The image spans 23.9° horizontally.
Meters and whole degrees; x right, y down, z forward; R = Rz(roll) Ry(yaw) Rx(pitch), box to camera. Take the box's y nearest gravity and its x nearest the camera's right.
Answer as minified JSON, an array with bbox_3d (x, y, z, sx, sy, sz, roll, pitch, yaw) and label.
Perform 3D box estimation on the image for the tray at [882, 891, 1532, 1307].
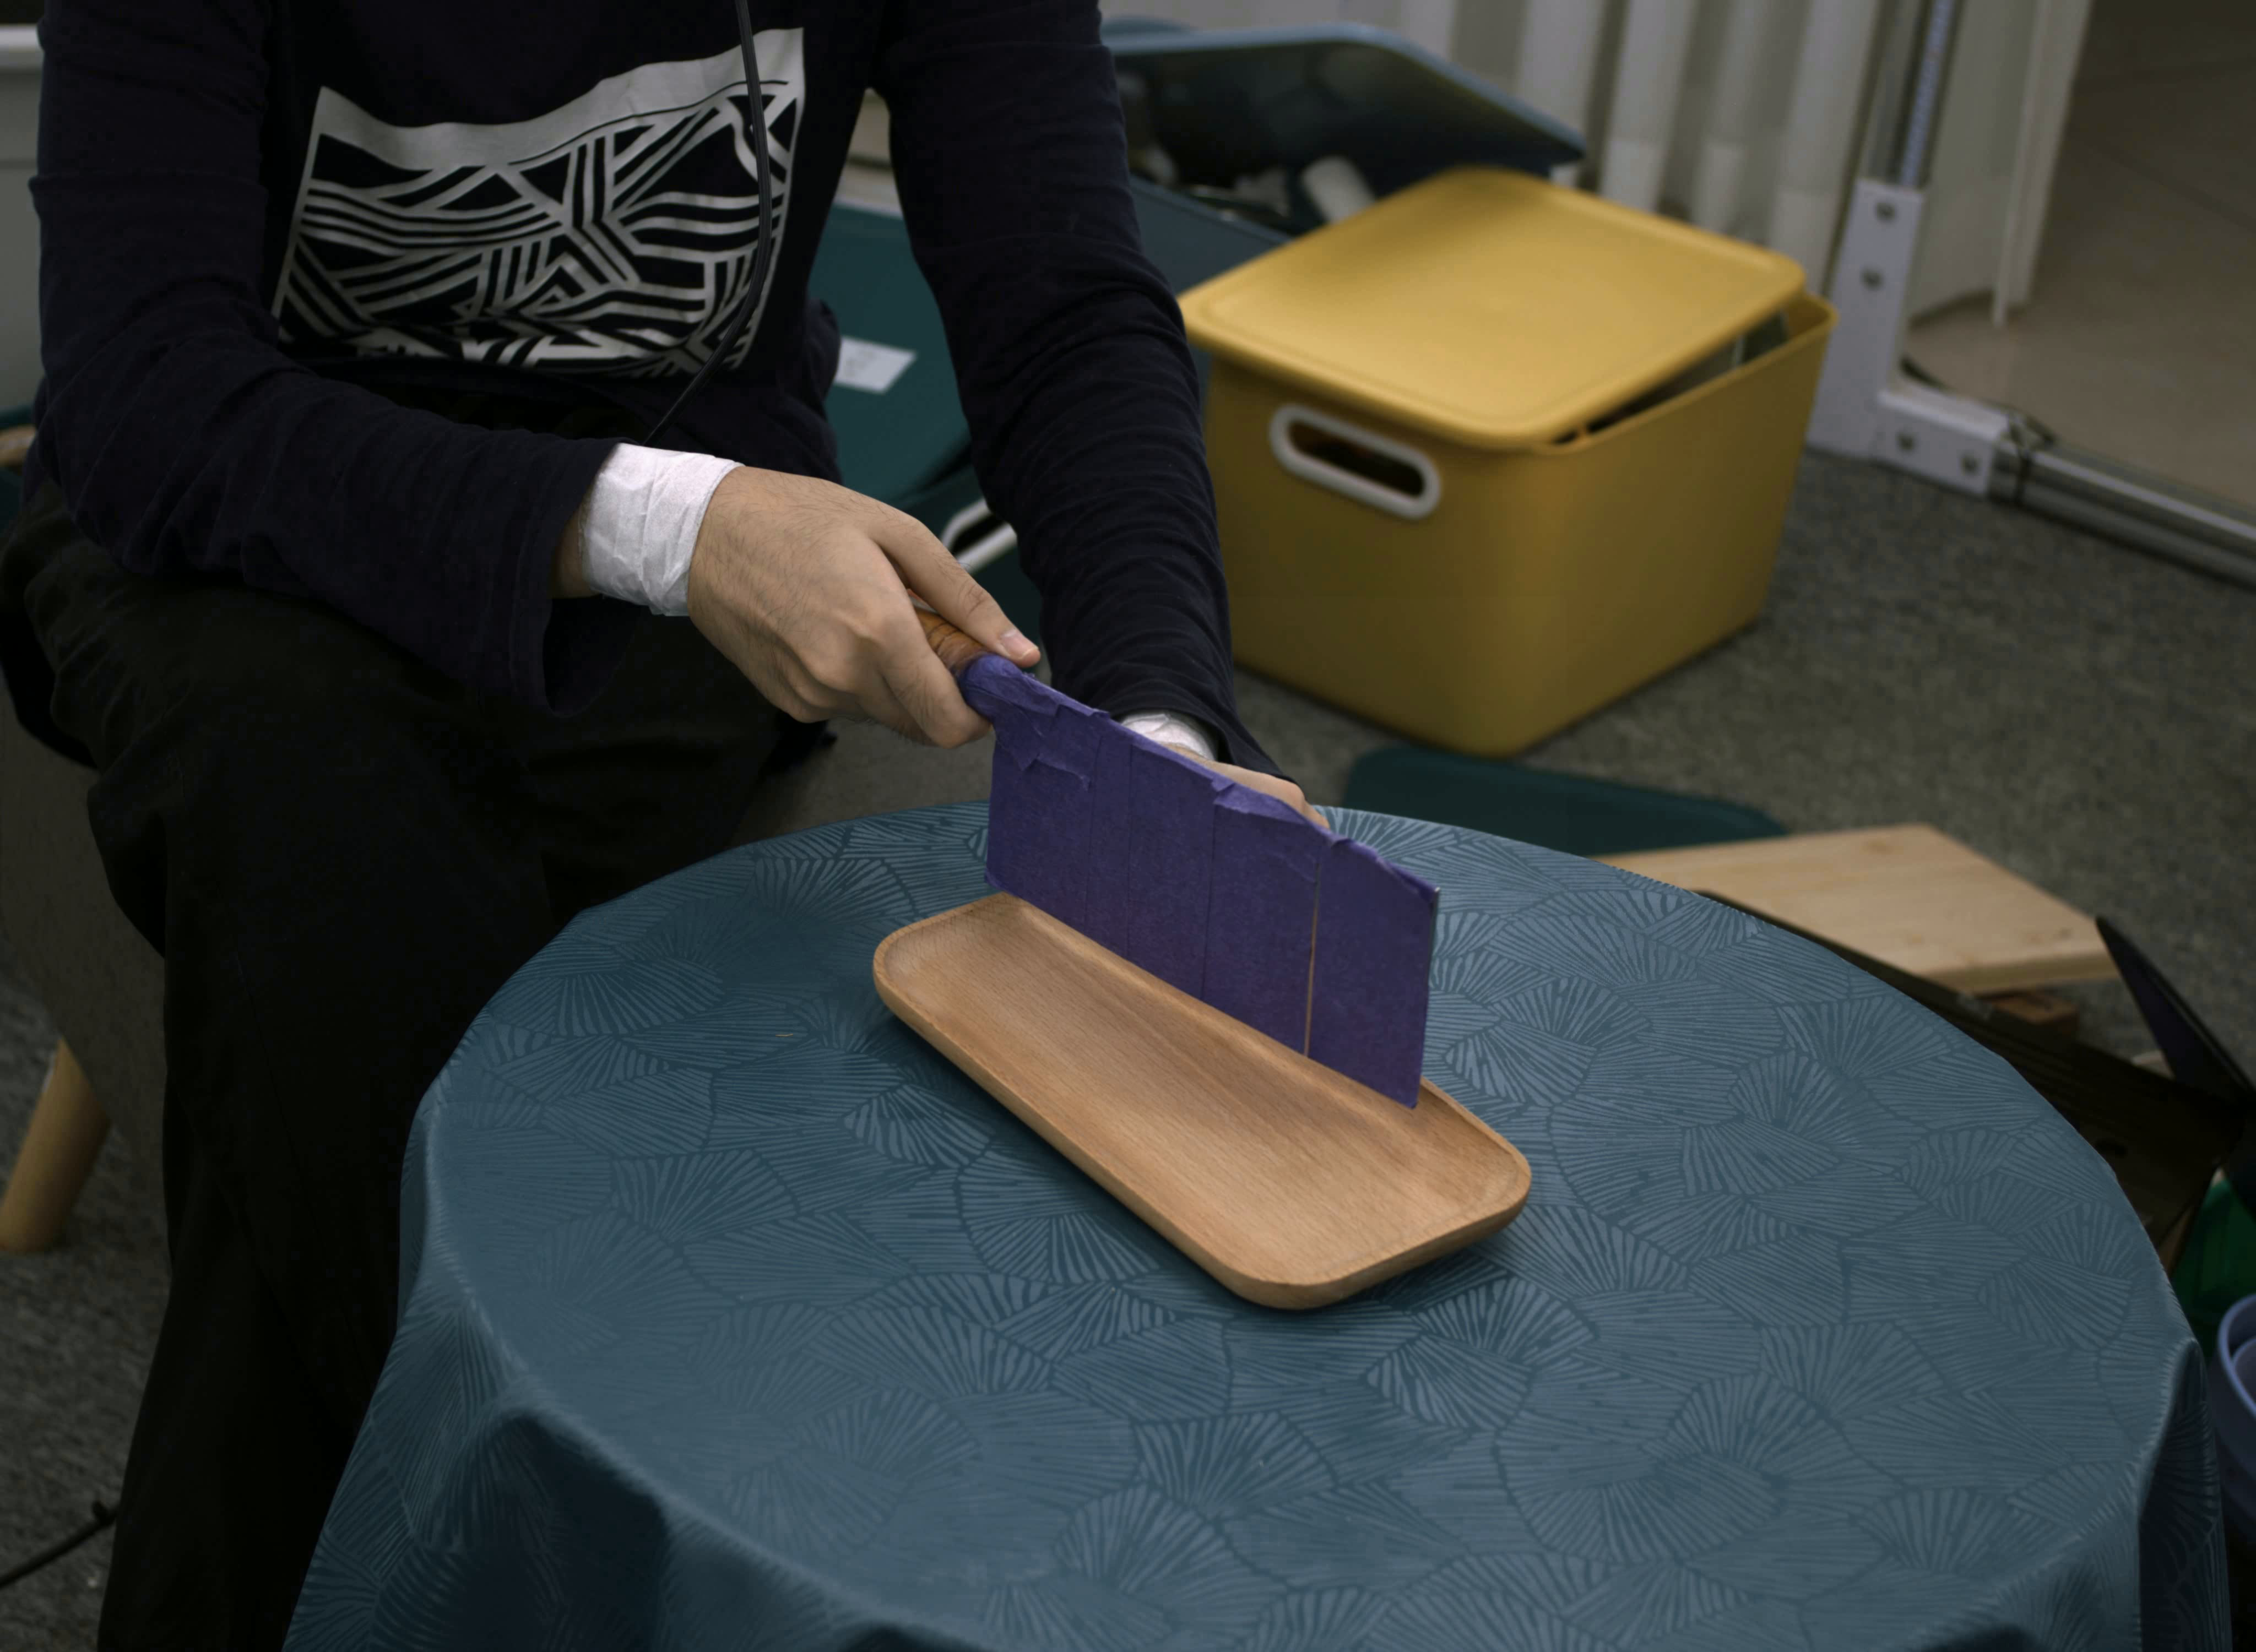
[{"bbox_3d":[0.024,0.087,1.847,0.130,0.023,0.253,-15,35,-31],"label":"tray"}]

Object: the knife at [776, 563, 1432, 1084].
[{"bbox_3d":[-0.014,0.000,1.883,0.032,0.103,0.318,-20,36,-40],"label":"knife"}]
